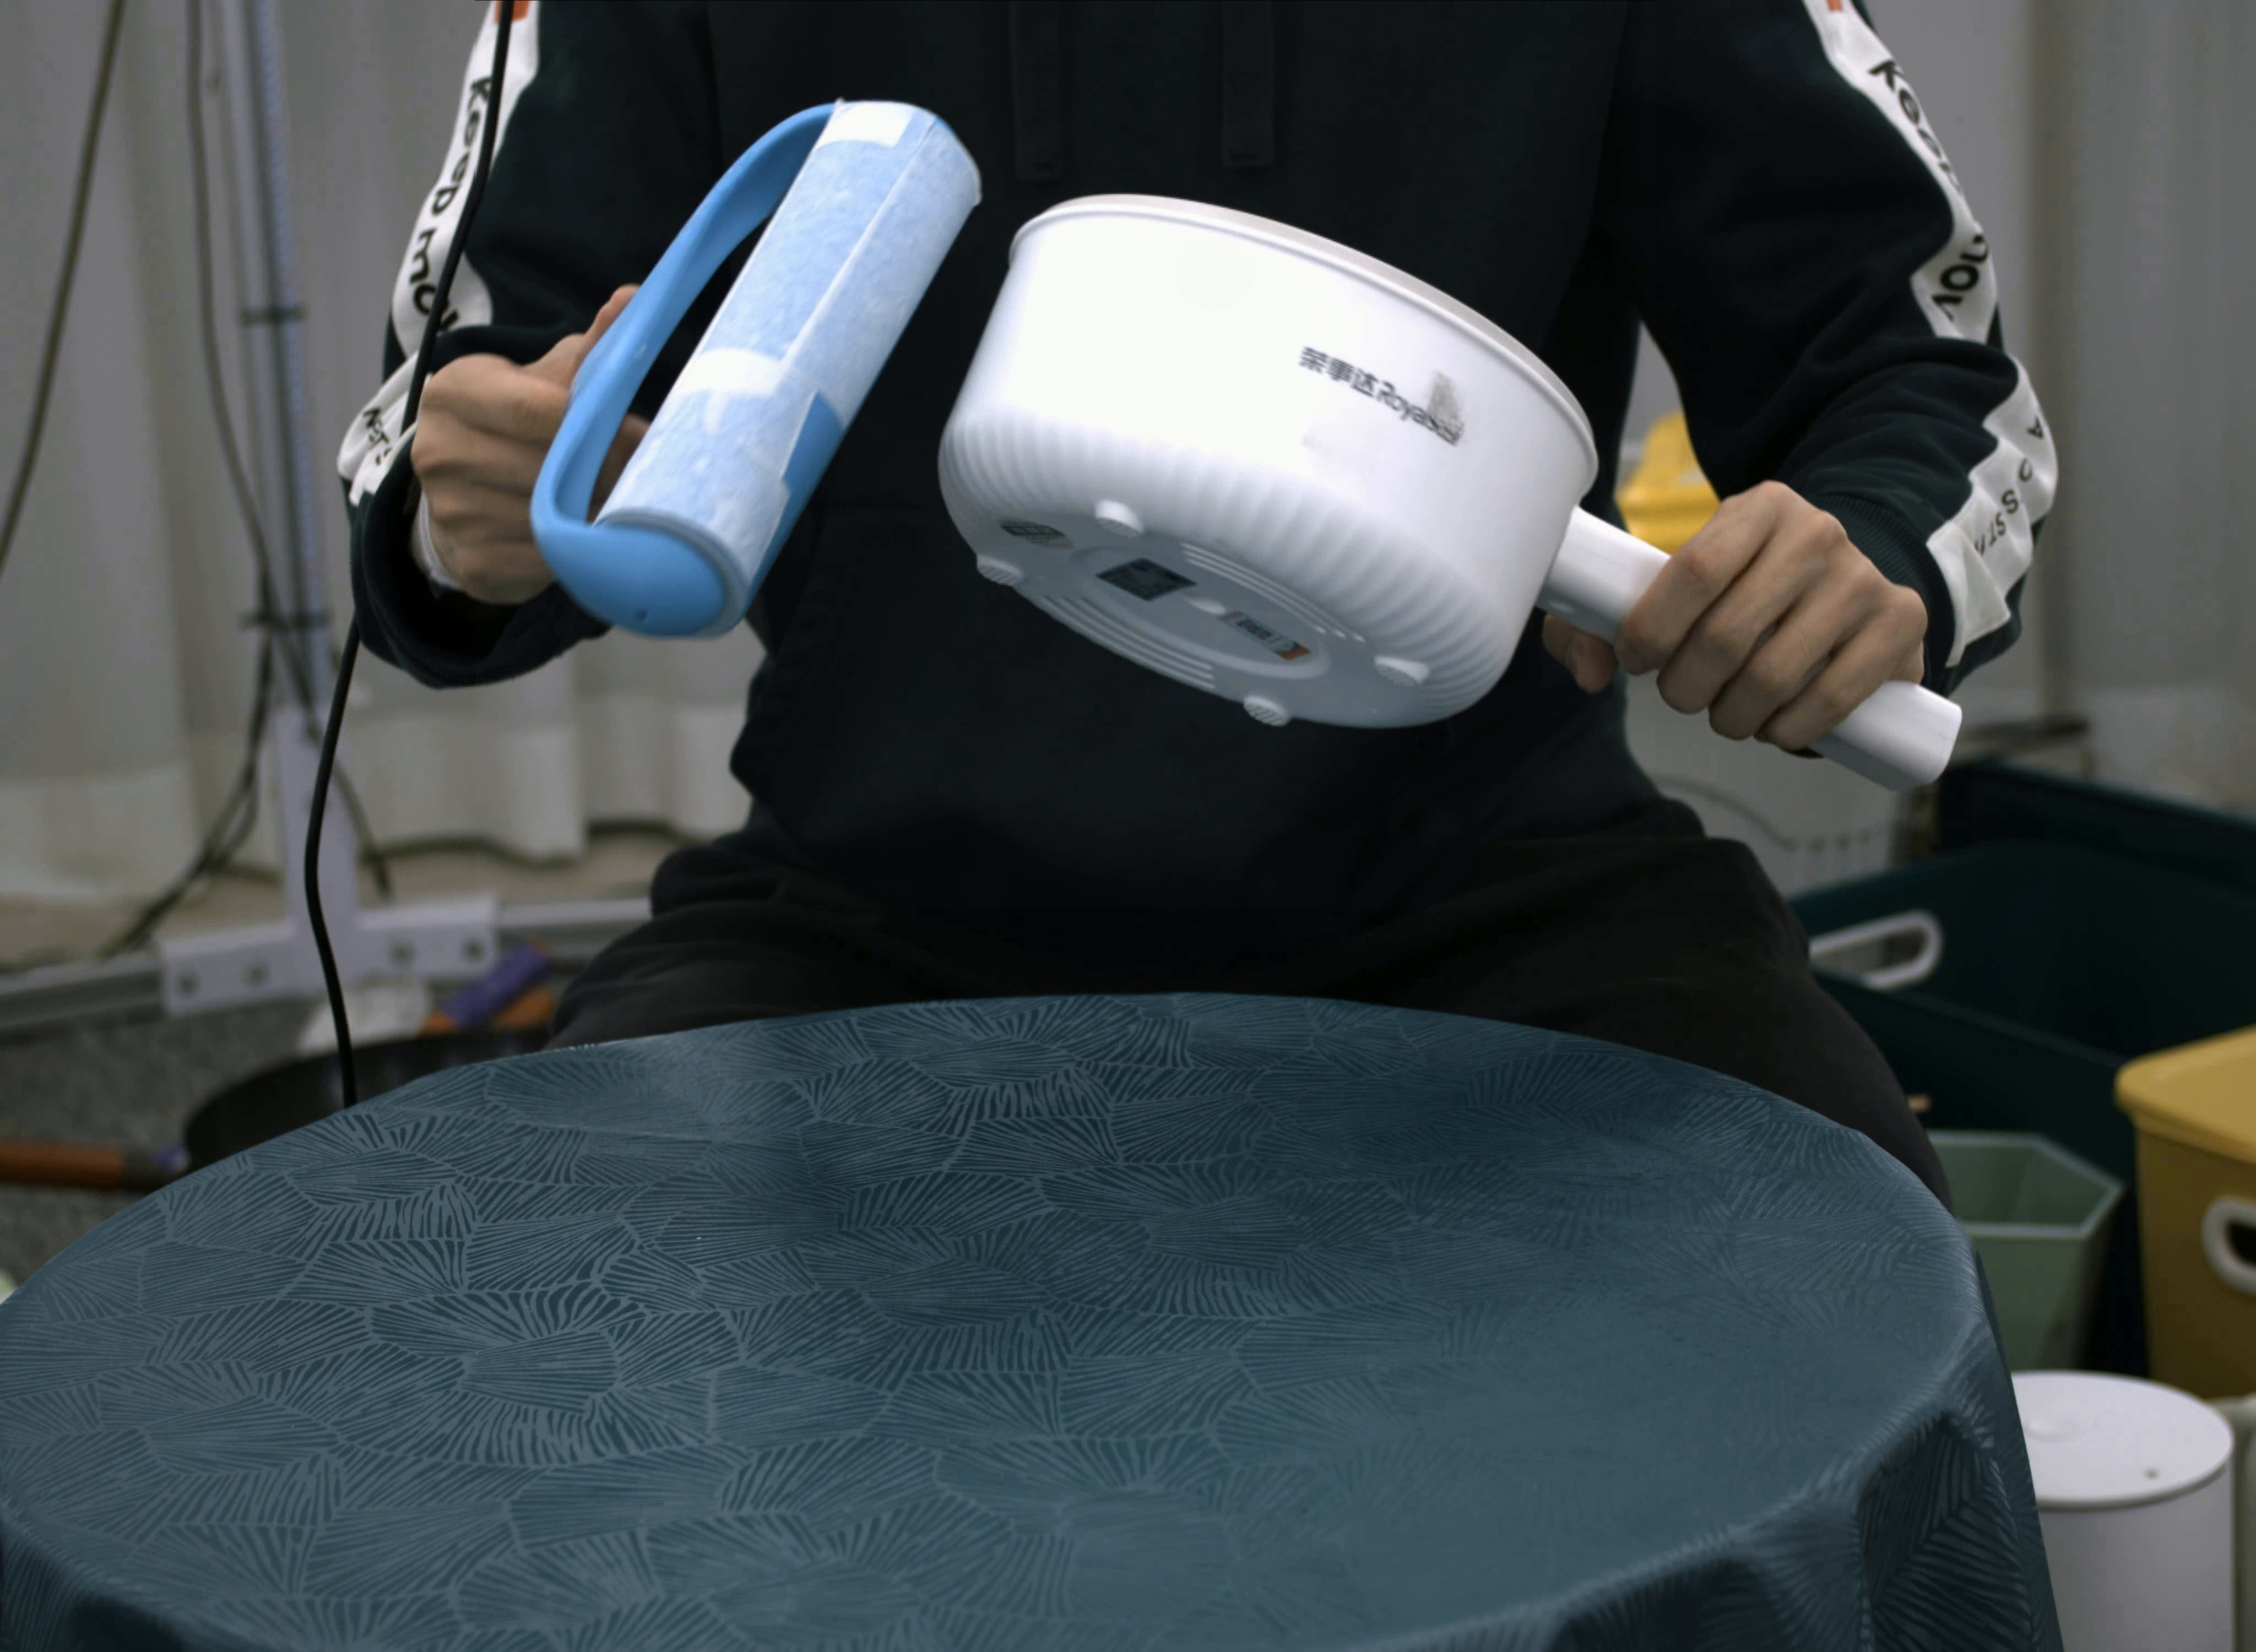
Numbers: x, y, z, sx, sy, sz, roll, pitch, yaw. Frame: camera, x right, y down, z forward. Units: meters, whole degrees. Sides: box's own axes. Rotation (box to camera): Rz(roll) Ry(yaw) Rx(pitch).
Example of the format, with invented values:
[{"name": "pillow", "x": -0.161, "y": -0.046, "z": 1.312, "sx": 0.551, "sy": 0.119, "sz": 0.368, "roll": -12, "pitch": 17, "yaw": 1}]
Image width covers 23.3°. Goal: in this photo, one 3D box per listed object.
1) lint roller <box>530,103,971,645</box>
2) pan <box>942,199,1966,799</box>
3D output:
[{"name": "lint roller", "x": -0.147, "y": -0.125, "z": 1.736, "sx": 0.180, "sy": 0.067, "sz": 0.232, "roll": -24, "pitch": 32, "yaw": 41}, {"name": "pan", "x": 0.105, "y": -0.071, "z": 1.760, "sx": 0.352, "sy": 0.103, "sz": 0.201, "roll": 28, "pitch": -17, "yaw": -17}]
